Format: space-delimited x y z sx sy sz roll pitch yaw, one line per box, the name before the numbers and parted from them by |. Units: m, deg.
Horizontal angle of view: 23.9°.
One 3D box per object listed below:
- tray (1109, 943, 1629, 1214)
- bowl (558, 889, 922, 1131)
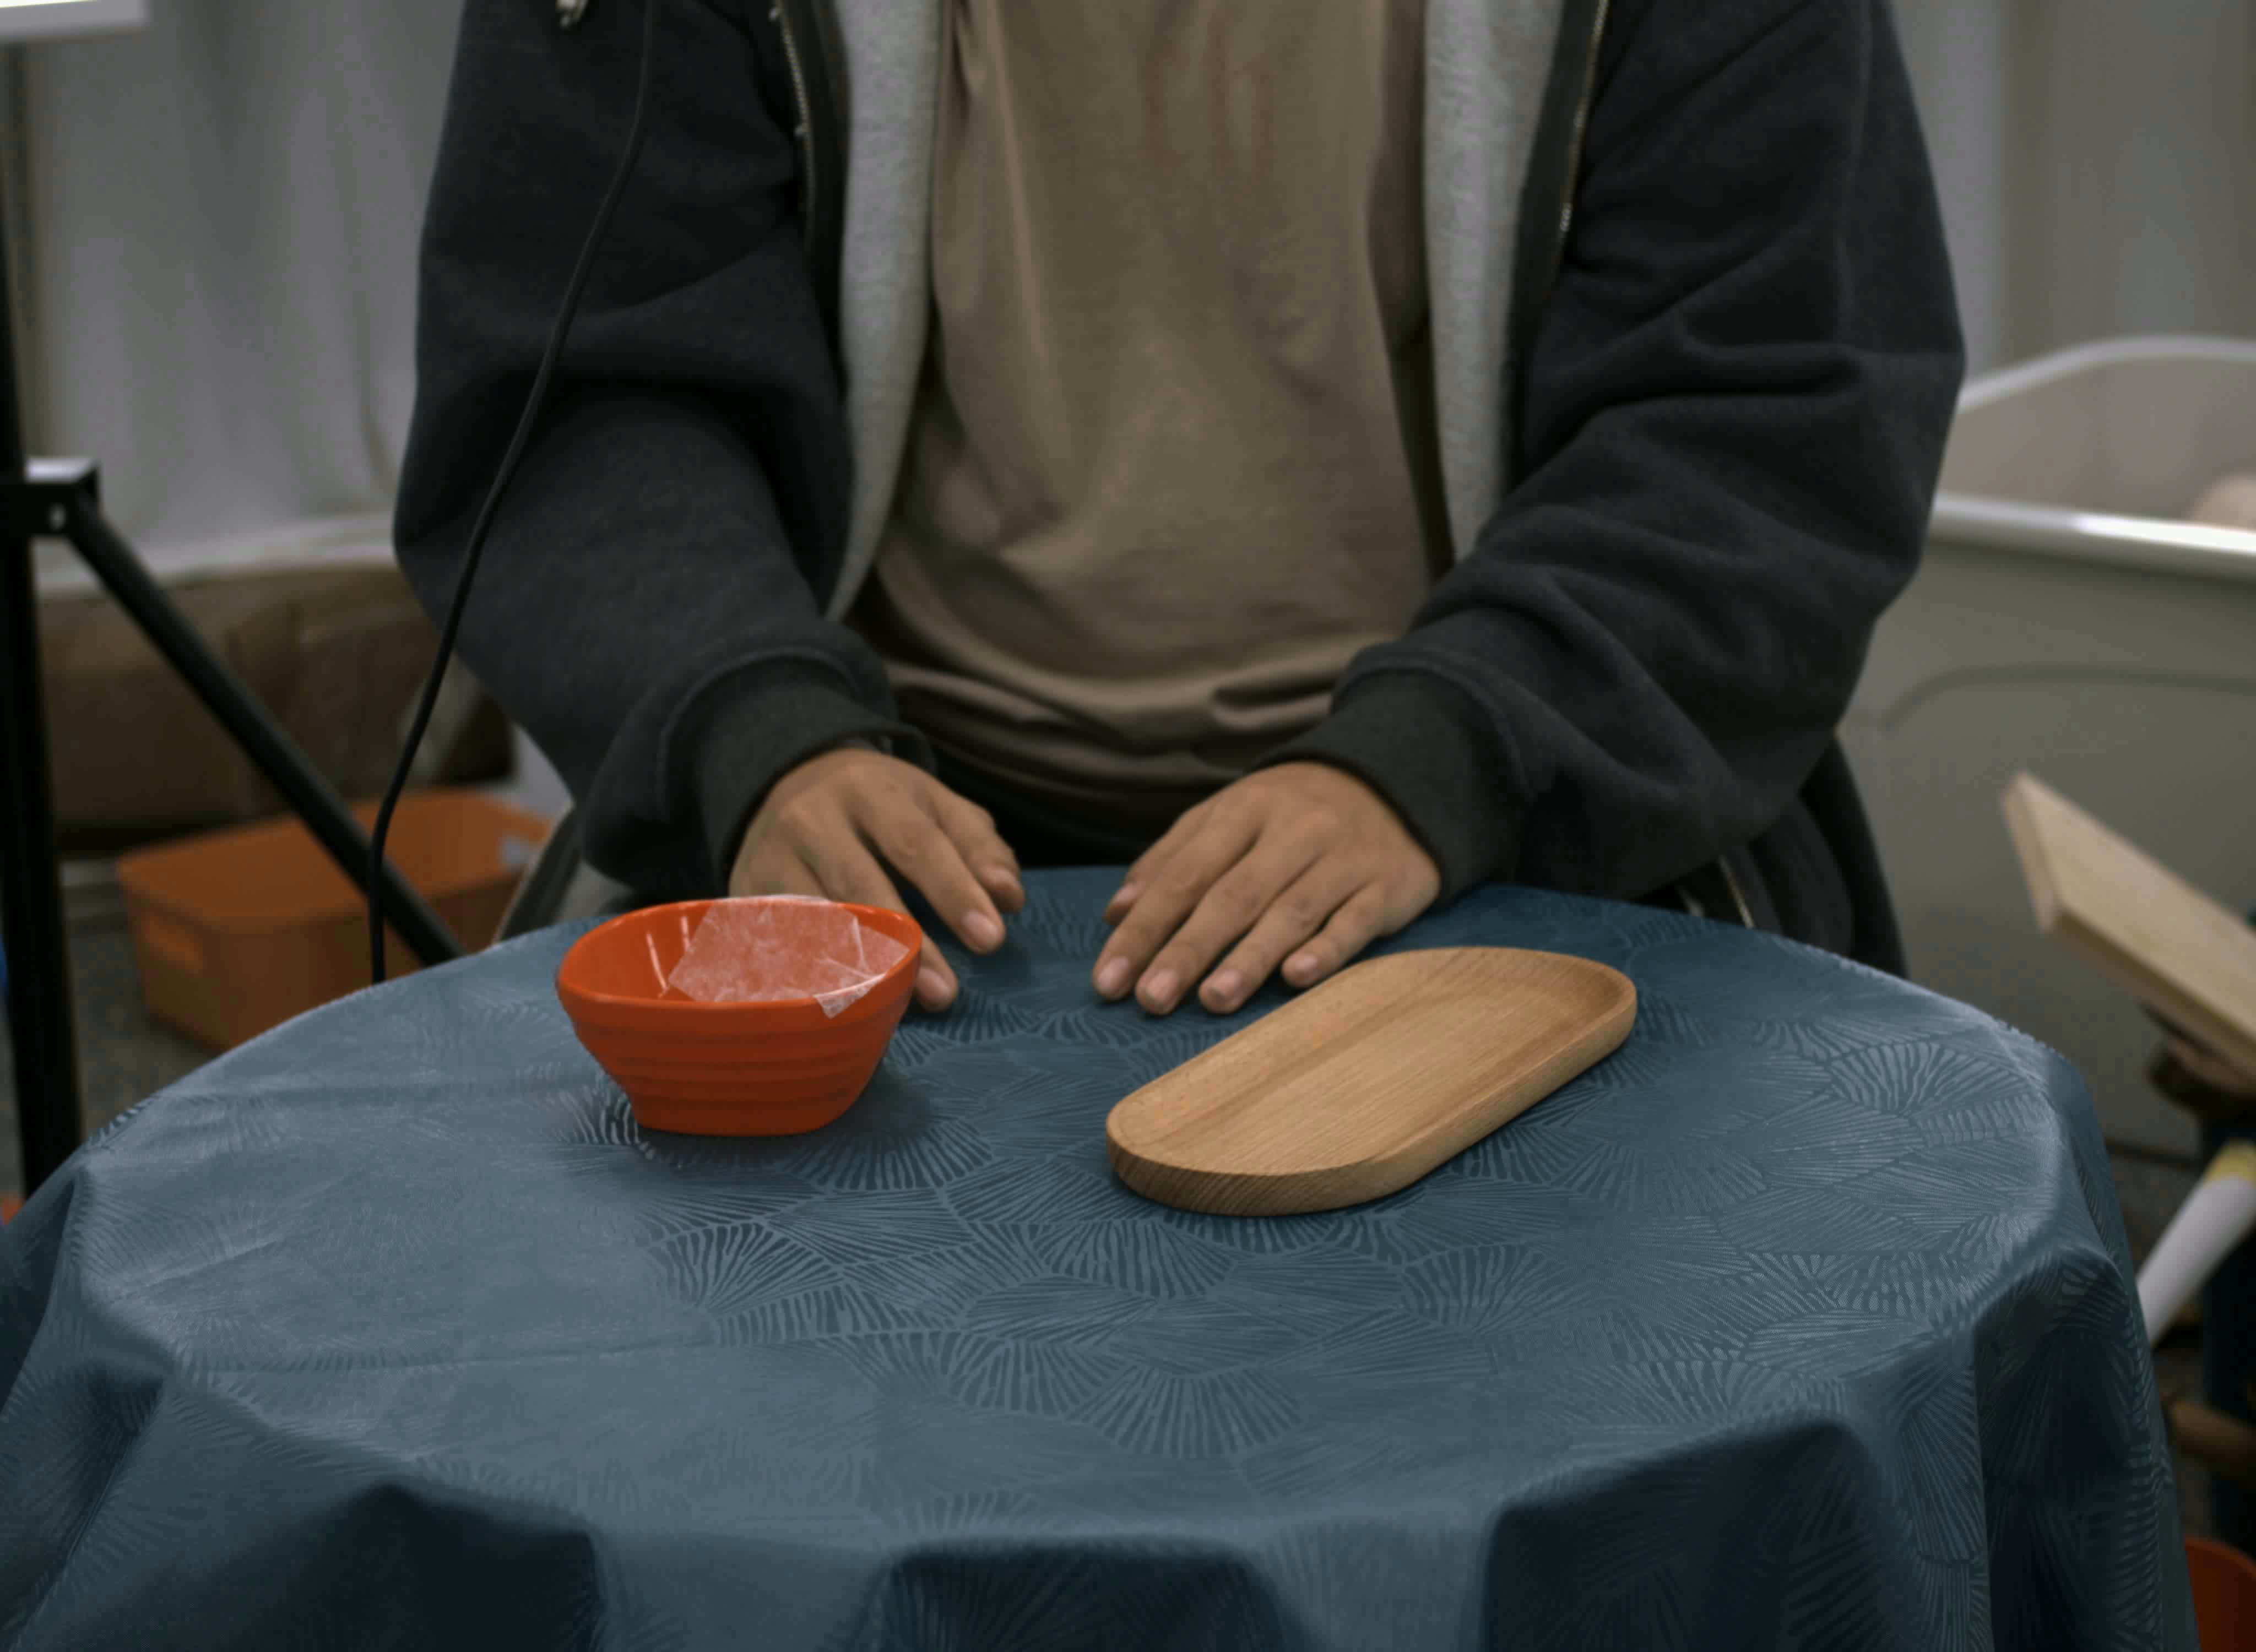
tray | 0.077 0.076 1.631 0.103 0.020 0.227 7 18 29
bowl | -0.118 0.059 1.652 0.118 0.051 0.119 -4 17 0
